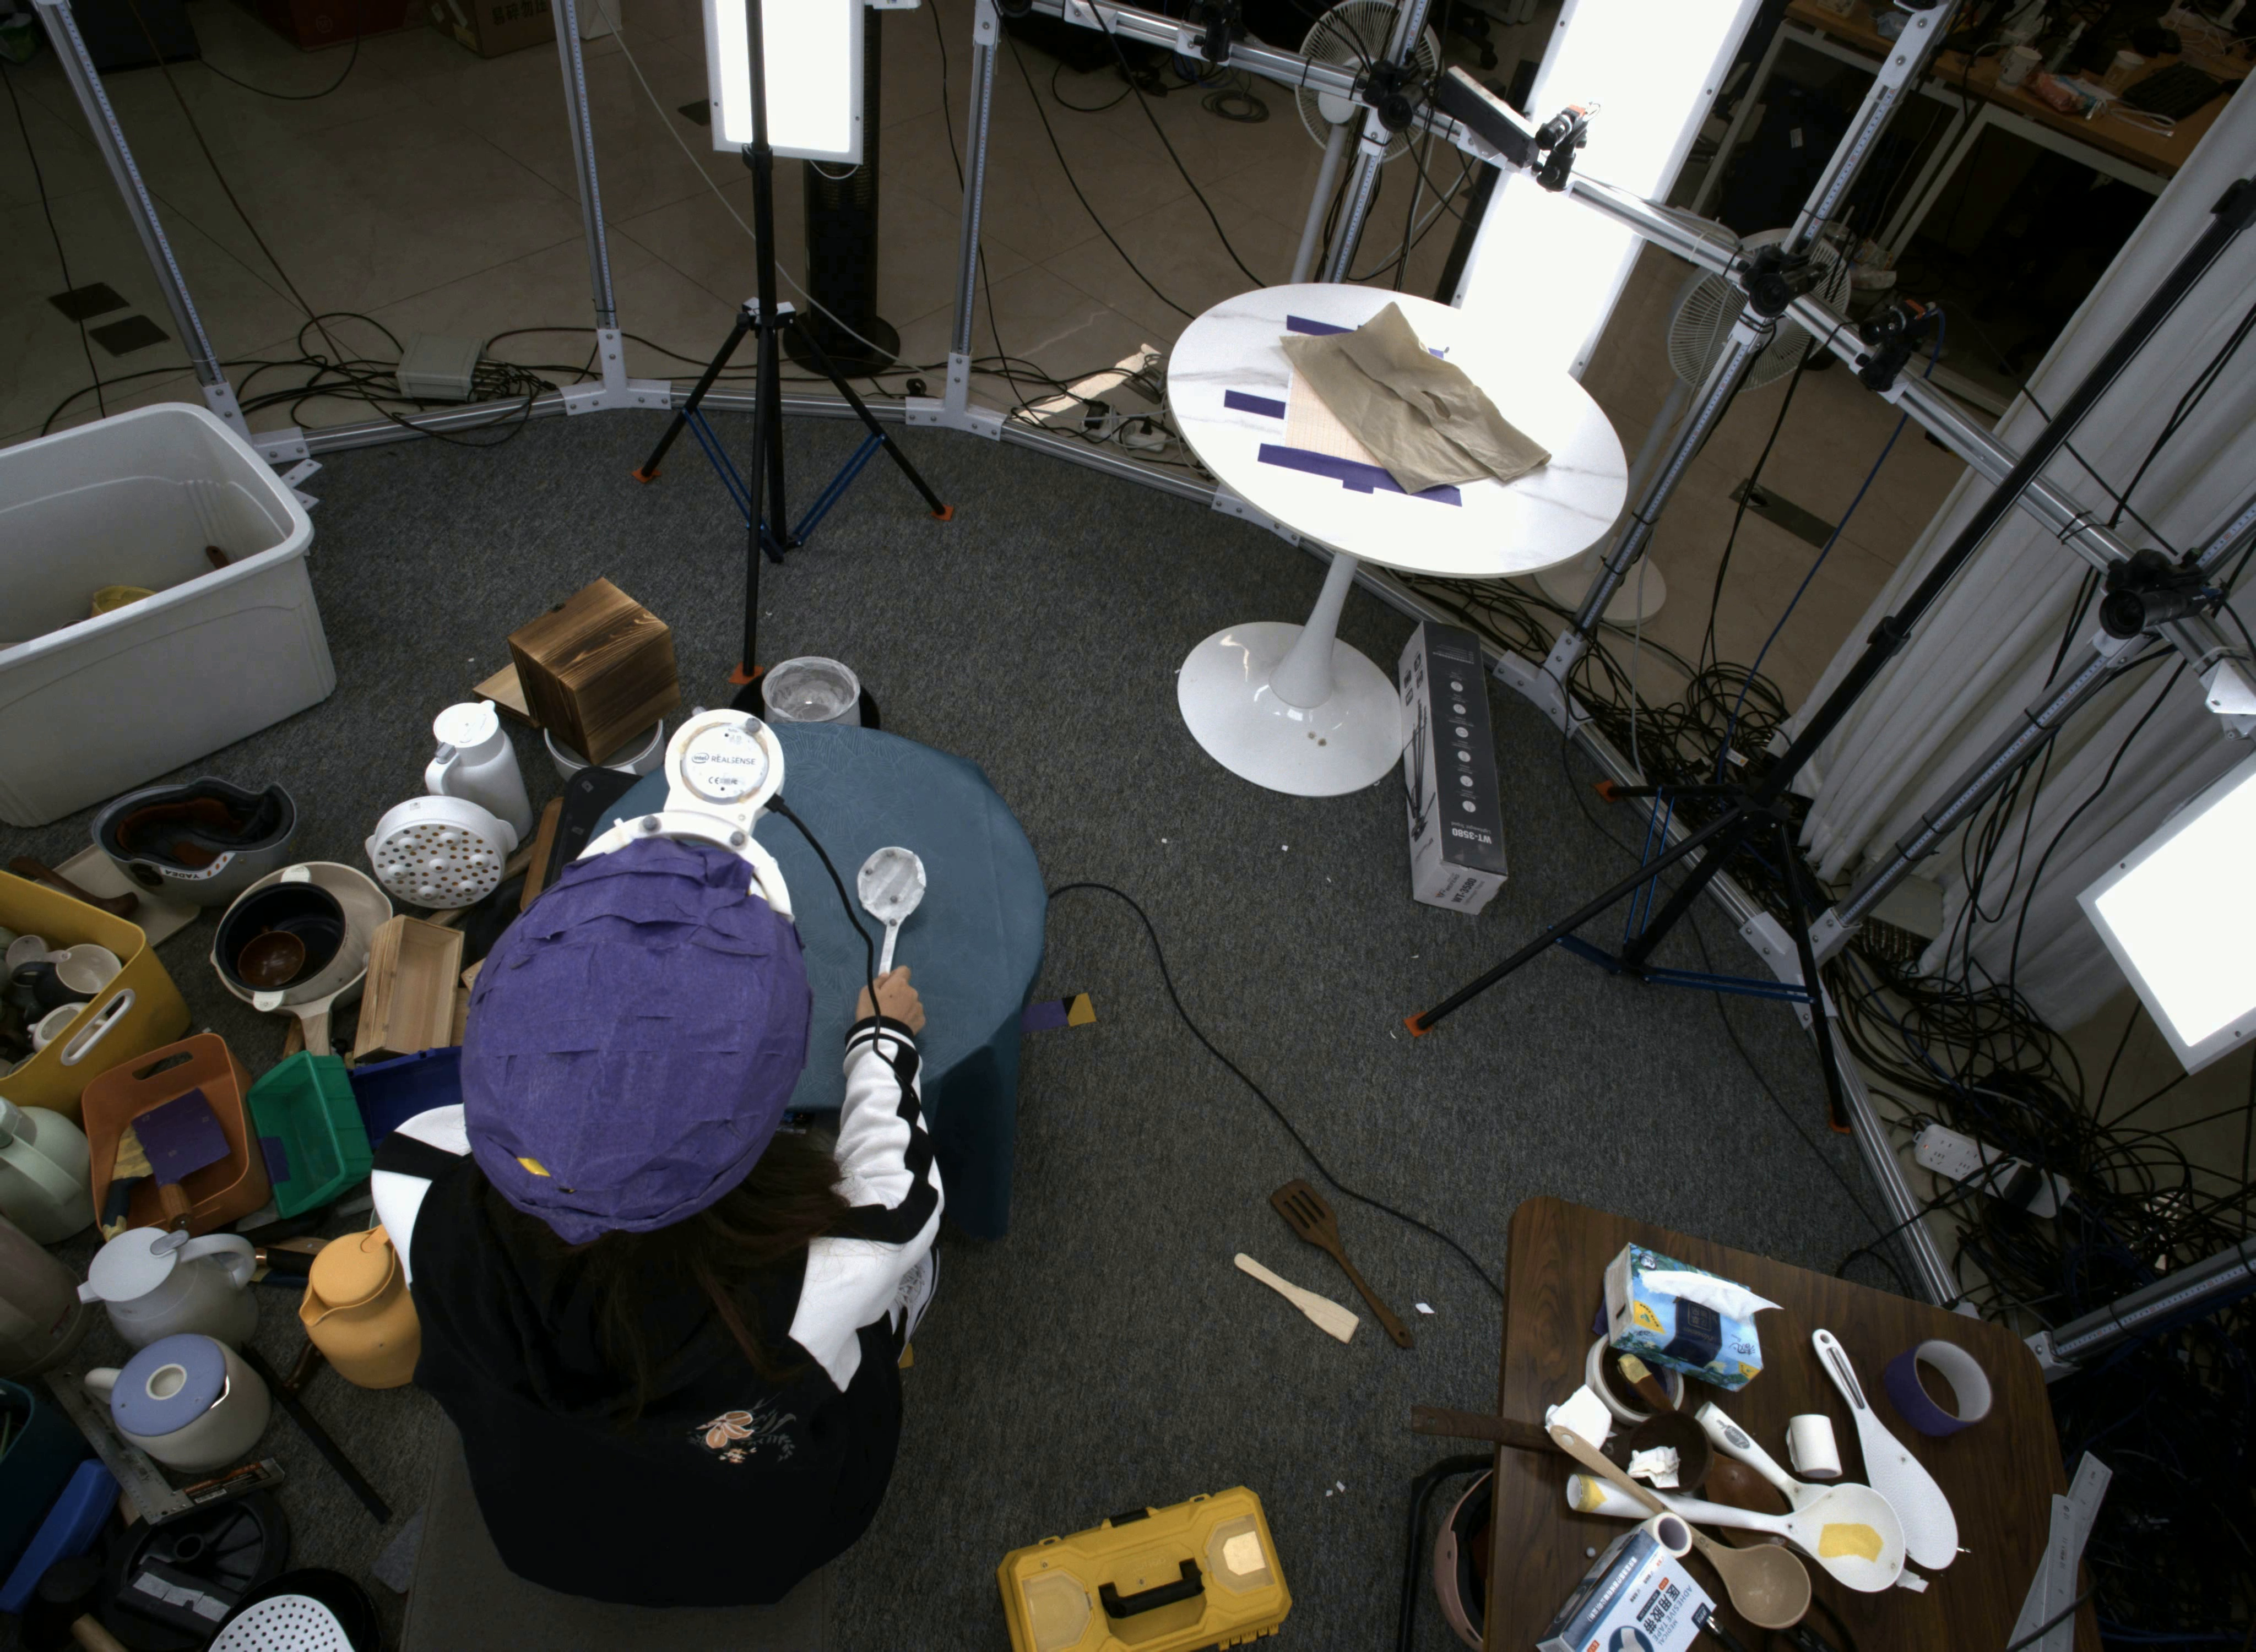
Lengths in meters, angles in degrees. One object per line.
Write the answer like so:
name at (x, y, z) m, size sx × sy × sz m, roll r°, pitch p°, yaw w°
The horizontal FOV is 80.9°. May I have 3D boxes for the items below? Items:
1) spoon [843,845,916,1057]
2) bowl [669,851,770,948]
spoon at (-0.320, 0.146, 1.586) m, size 0.098 × 0.062 × 0.272 m, roll -9°, pitch 48°, yaw 16°
bowl at (-0.498, 0.095, 1.580) m, size 0.118 × 0.071 × 0.116 m, roll 7°, pitch 52°, yaw -8°
